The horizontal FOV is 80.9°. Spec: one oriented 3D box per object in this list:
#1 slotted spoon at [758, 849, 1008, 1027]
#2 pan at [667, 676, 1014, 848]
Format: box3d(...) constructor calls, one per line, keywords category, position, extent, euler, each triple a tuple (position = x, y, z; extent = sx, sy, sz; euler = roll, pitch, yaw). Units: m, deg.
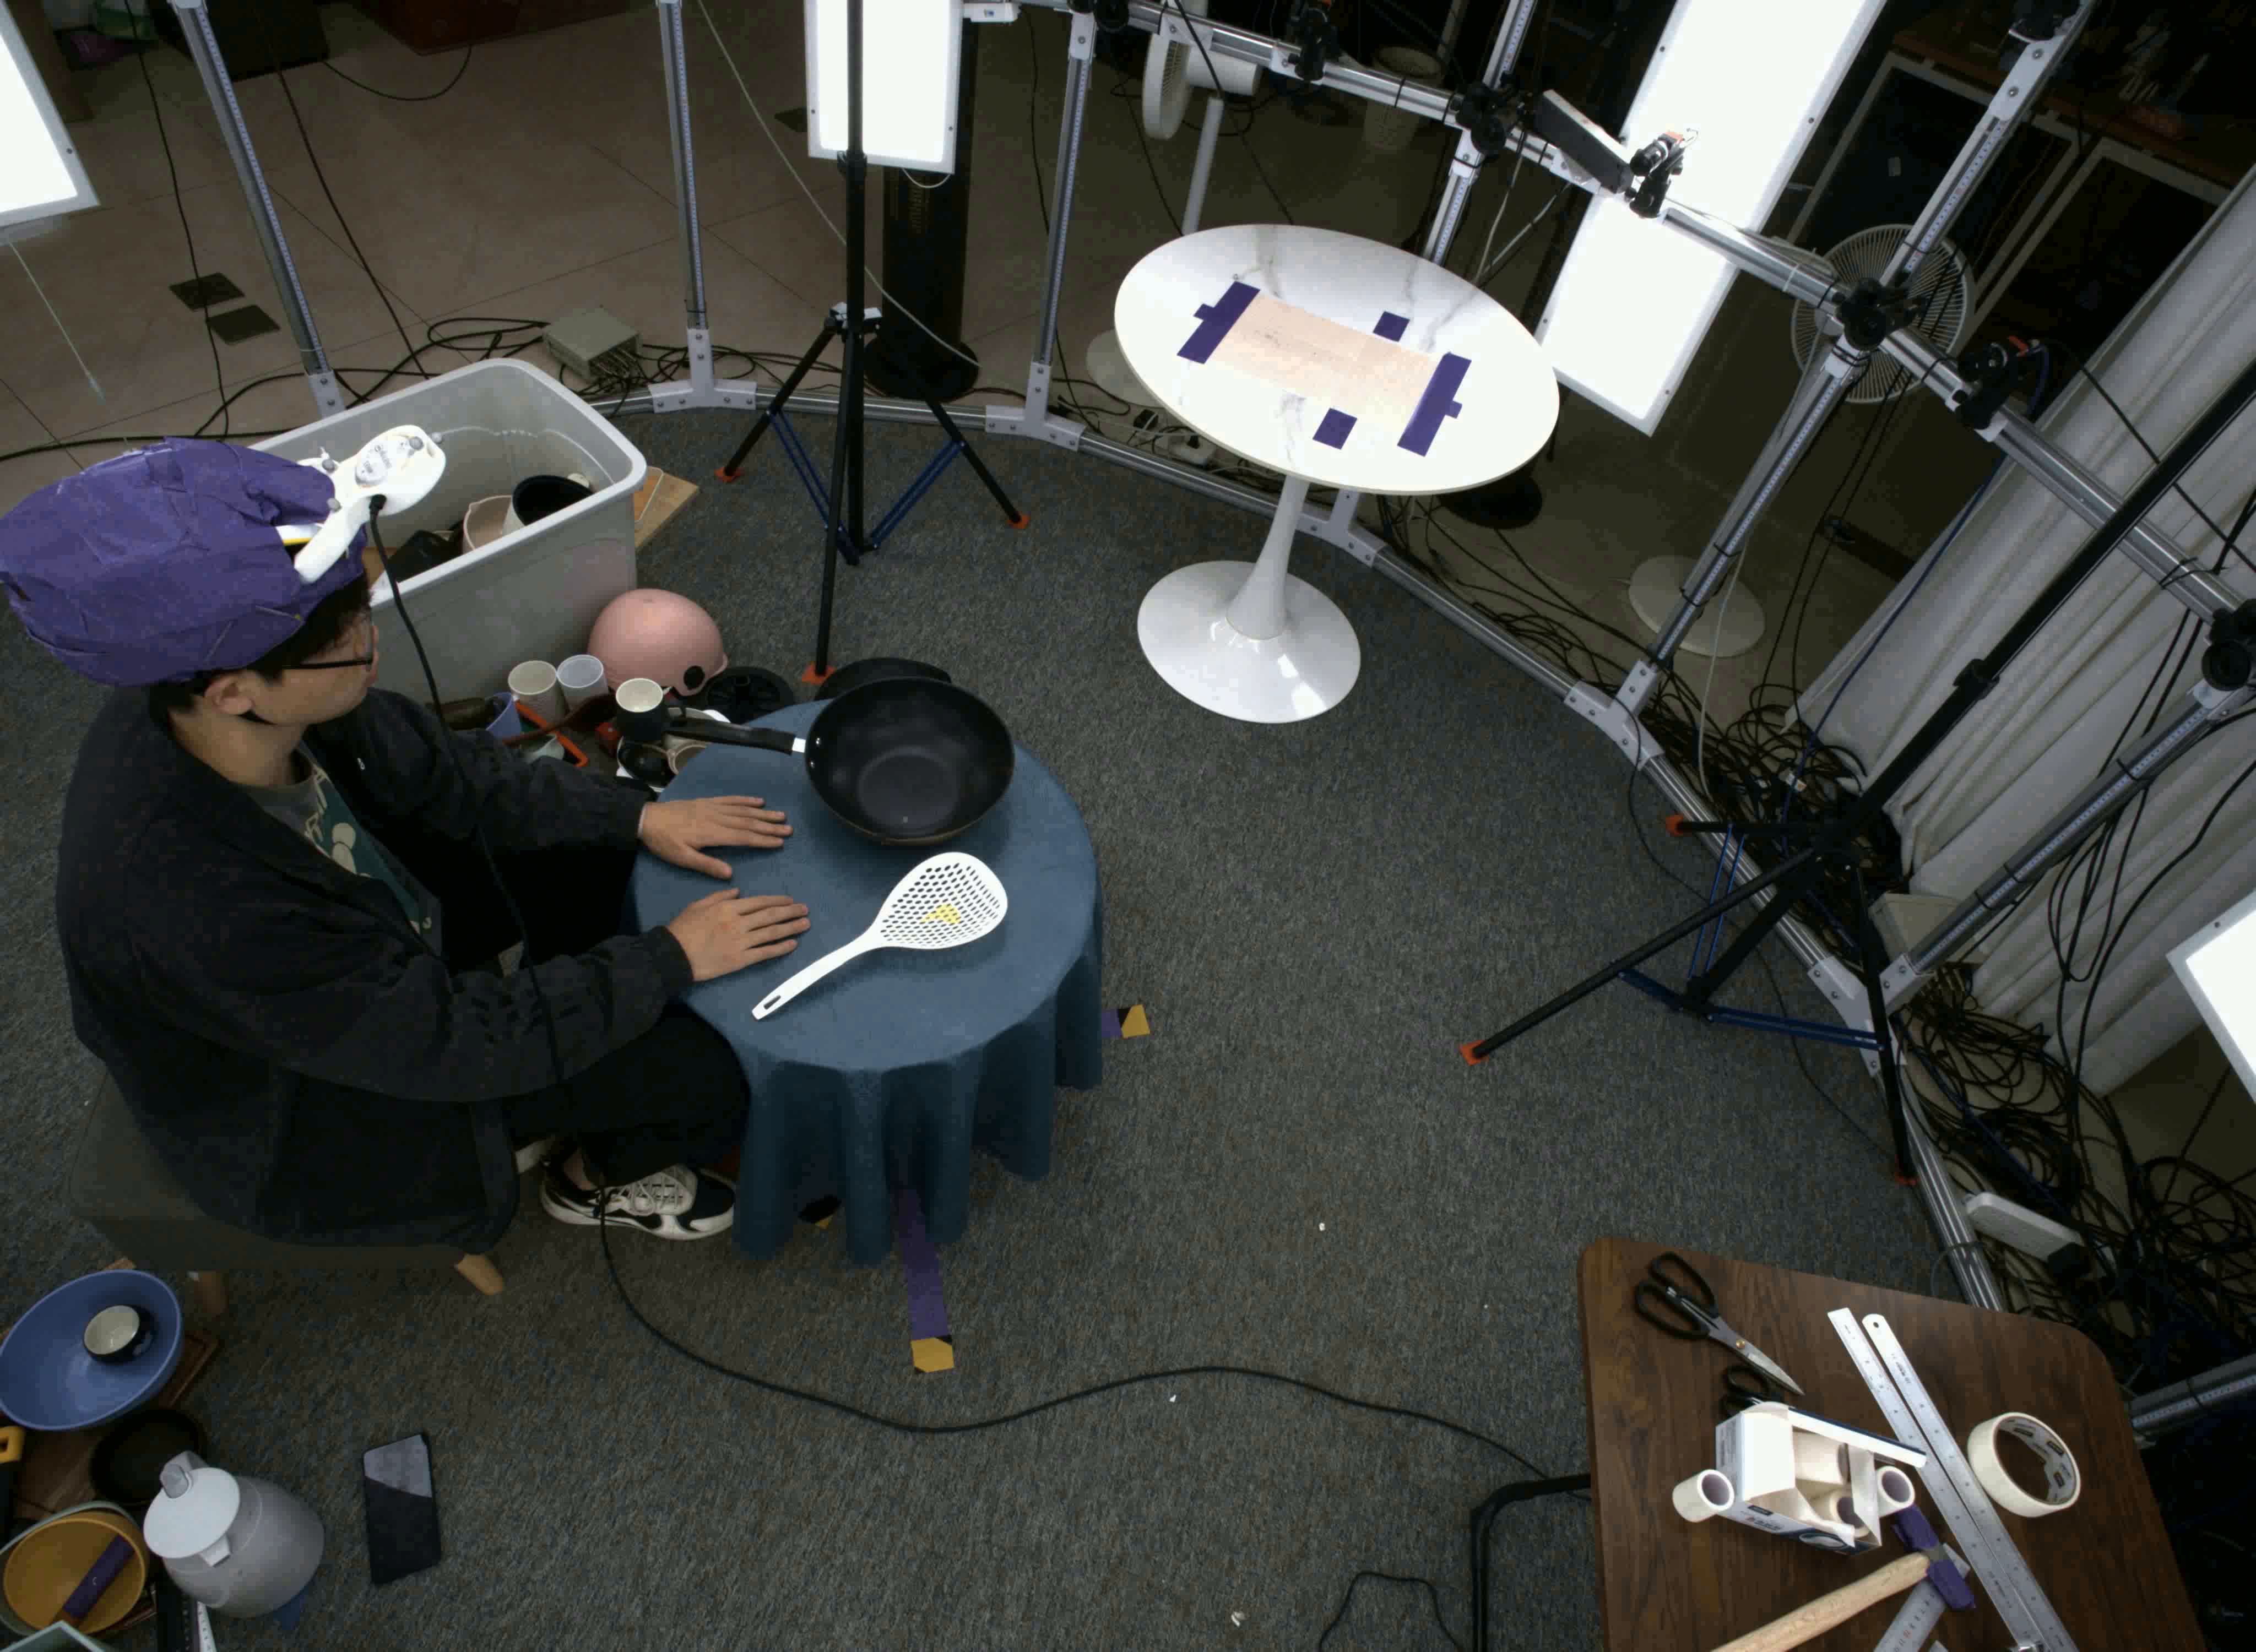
box3d(category="slotted spoon", position=(-0.309, 0.144, 1.621), extent=(0.349, 0.051, 0.134), euler=(-28, 66, -29))
box3d(category="pan", position=(-0.384, -0.084, 1.744), extent=(0.461, 0.089, 0.283), euler=(7, 52, -7))
